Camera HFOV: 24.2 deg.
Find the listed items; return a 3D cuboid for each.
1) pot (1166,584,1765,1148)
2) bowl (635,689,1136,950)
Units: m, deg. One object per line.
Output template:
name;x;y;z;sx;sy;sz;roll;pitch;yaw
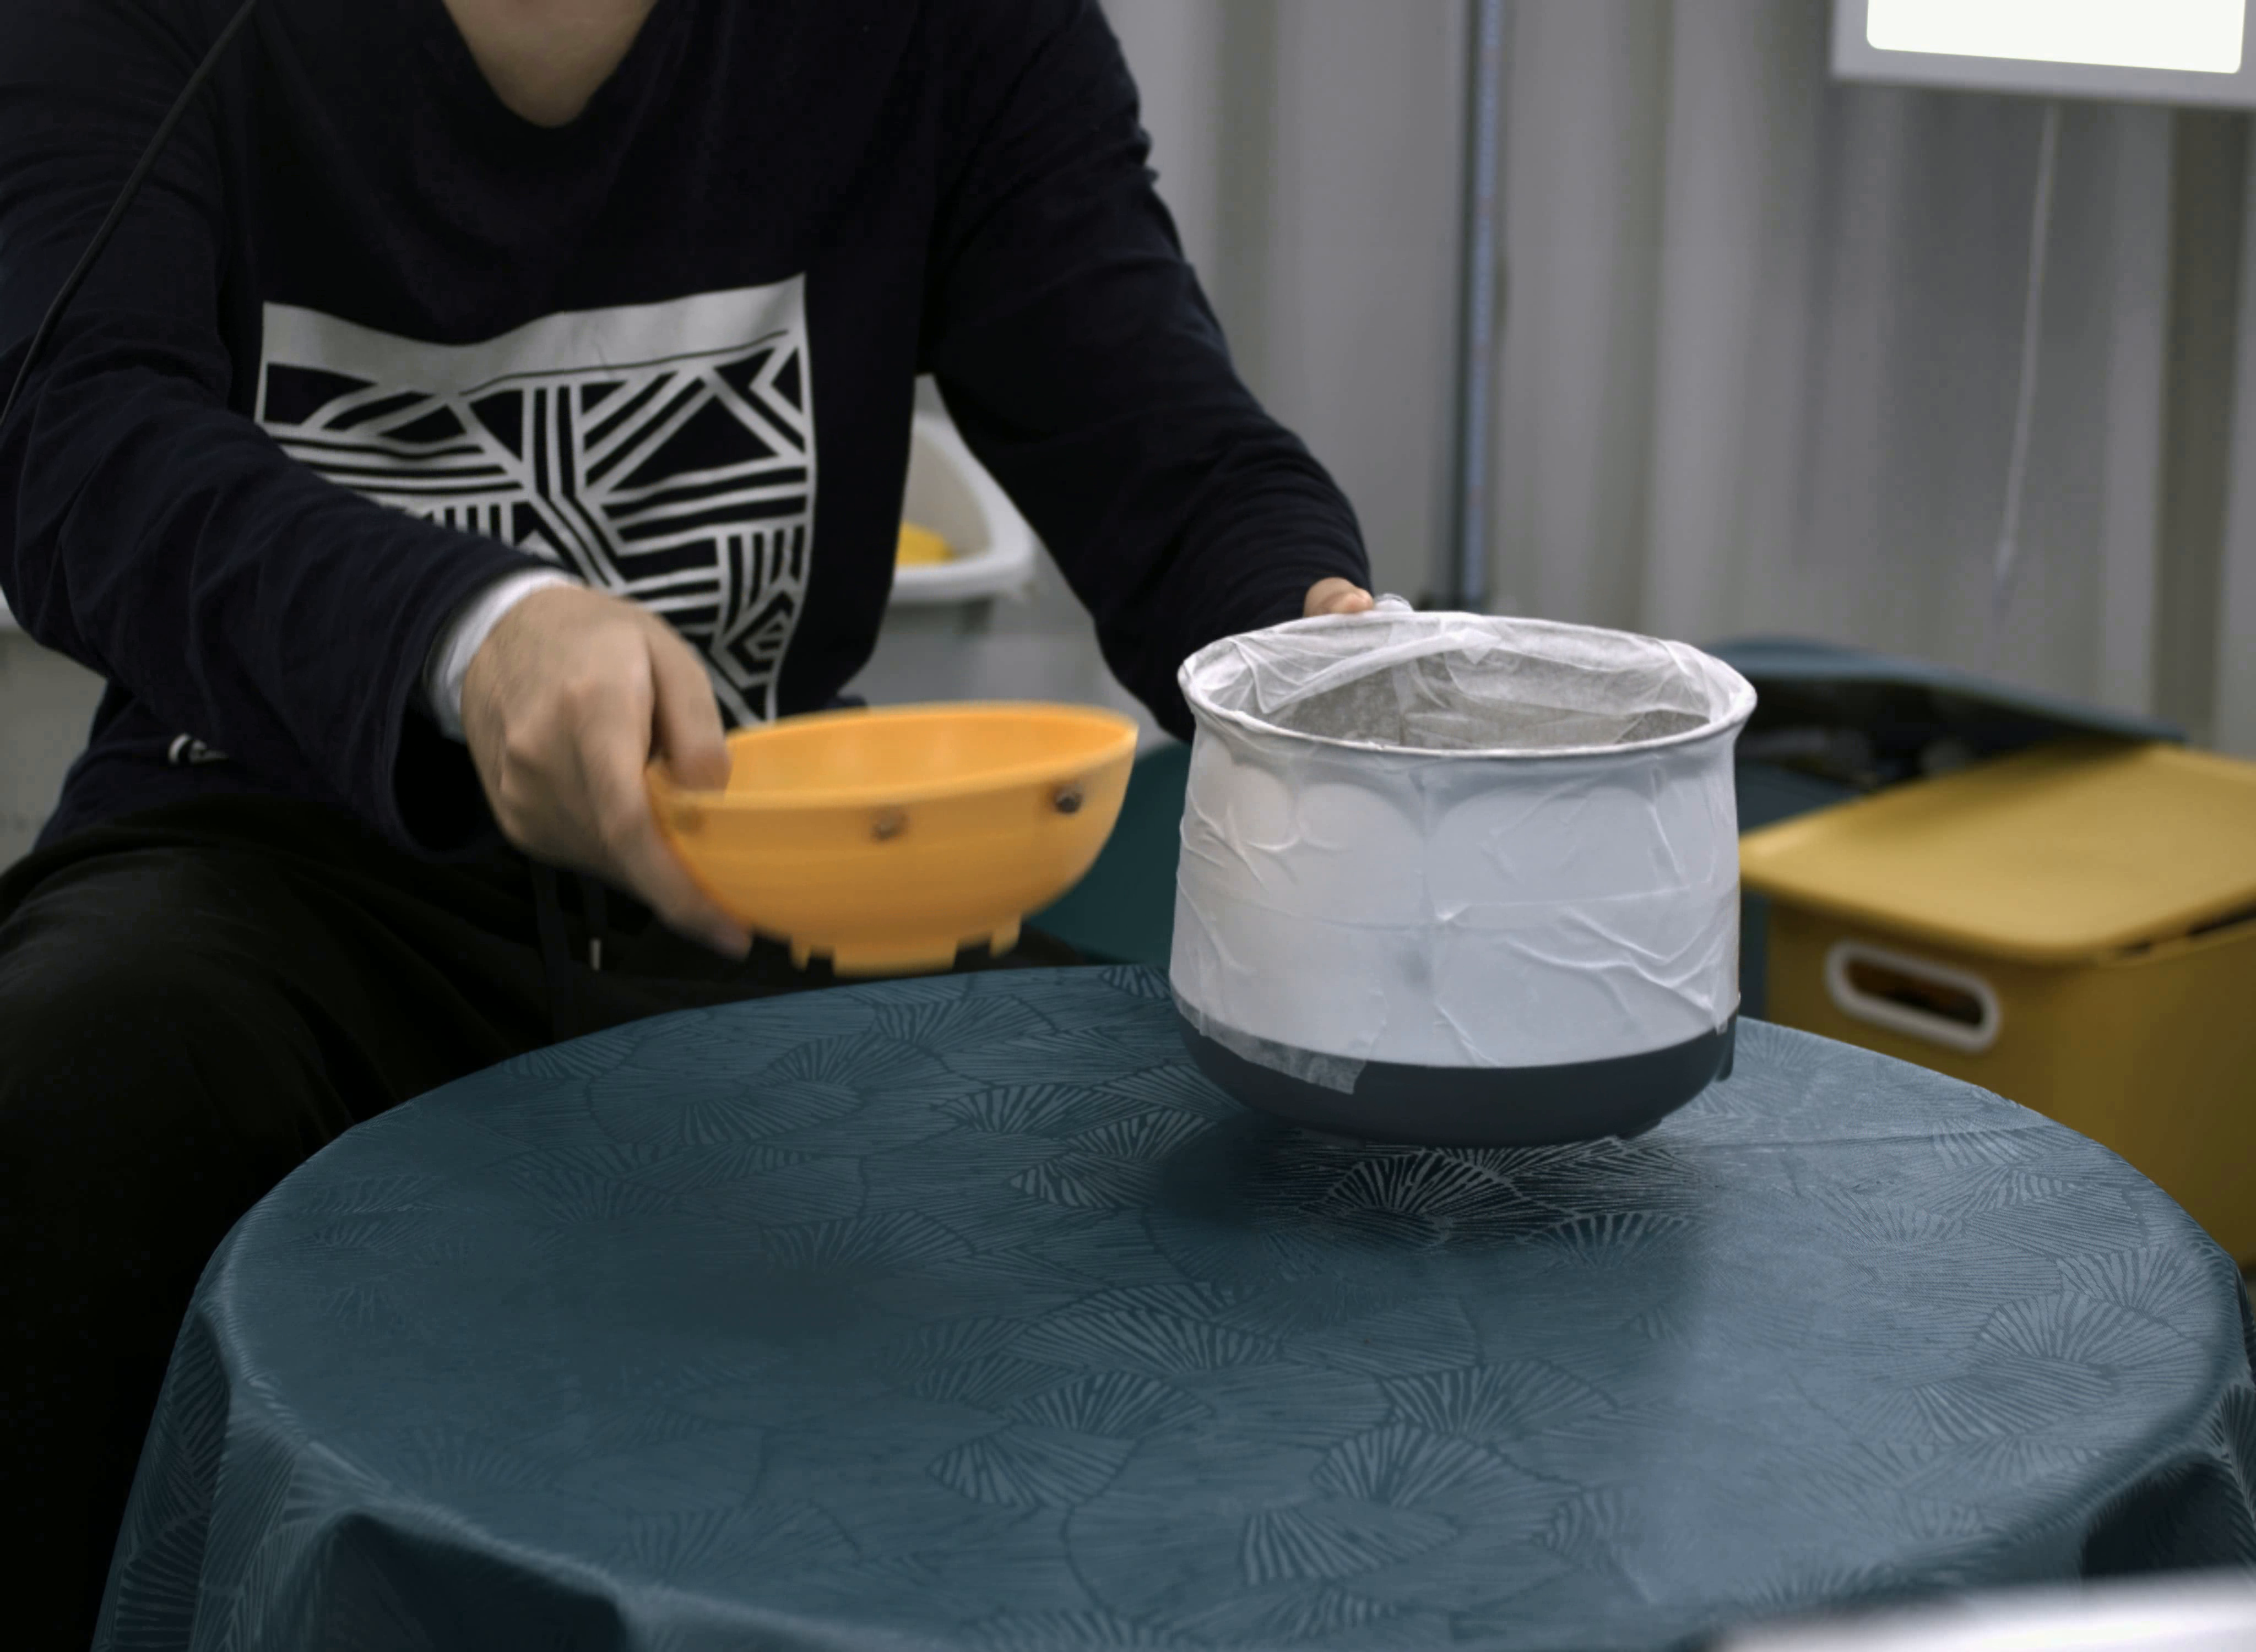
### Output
pot;0.096;0.008;1.651;0.179;0.137;0.231;1;16;-14
bowl;-0.068;0.000;1.516;0.145;0.060;0.145;-3;11;1
